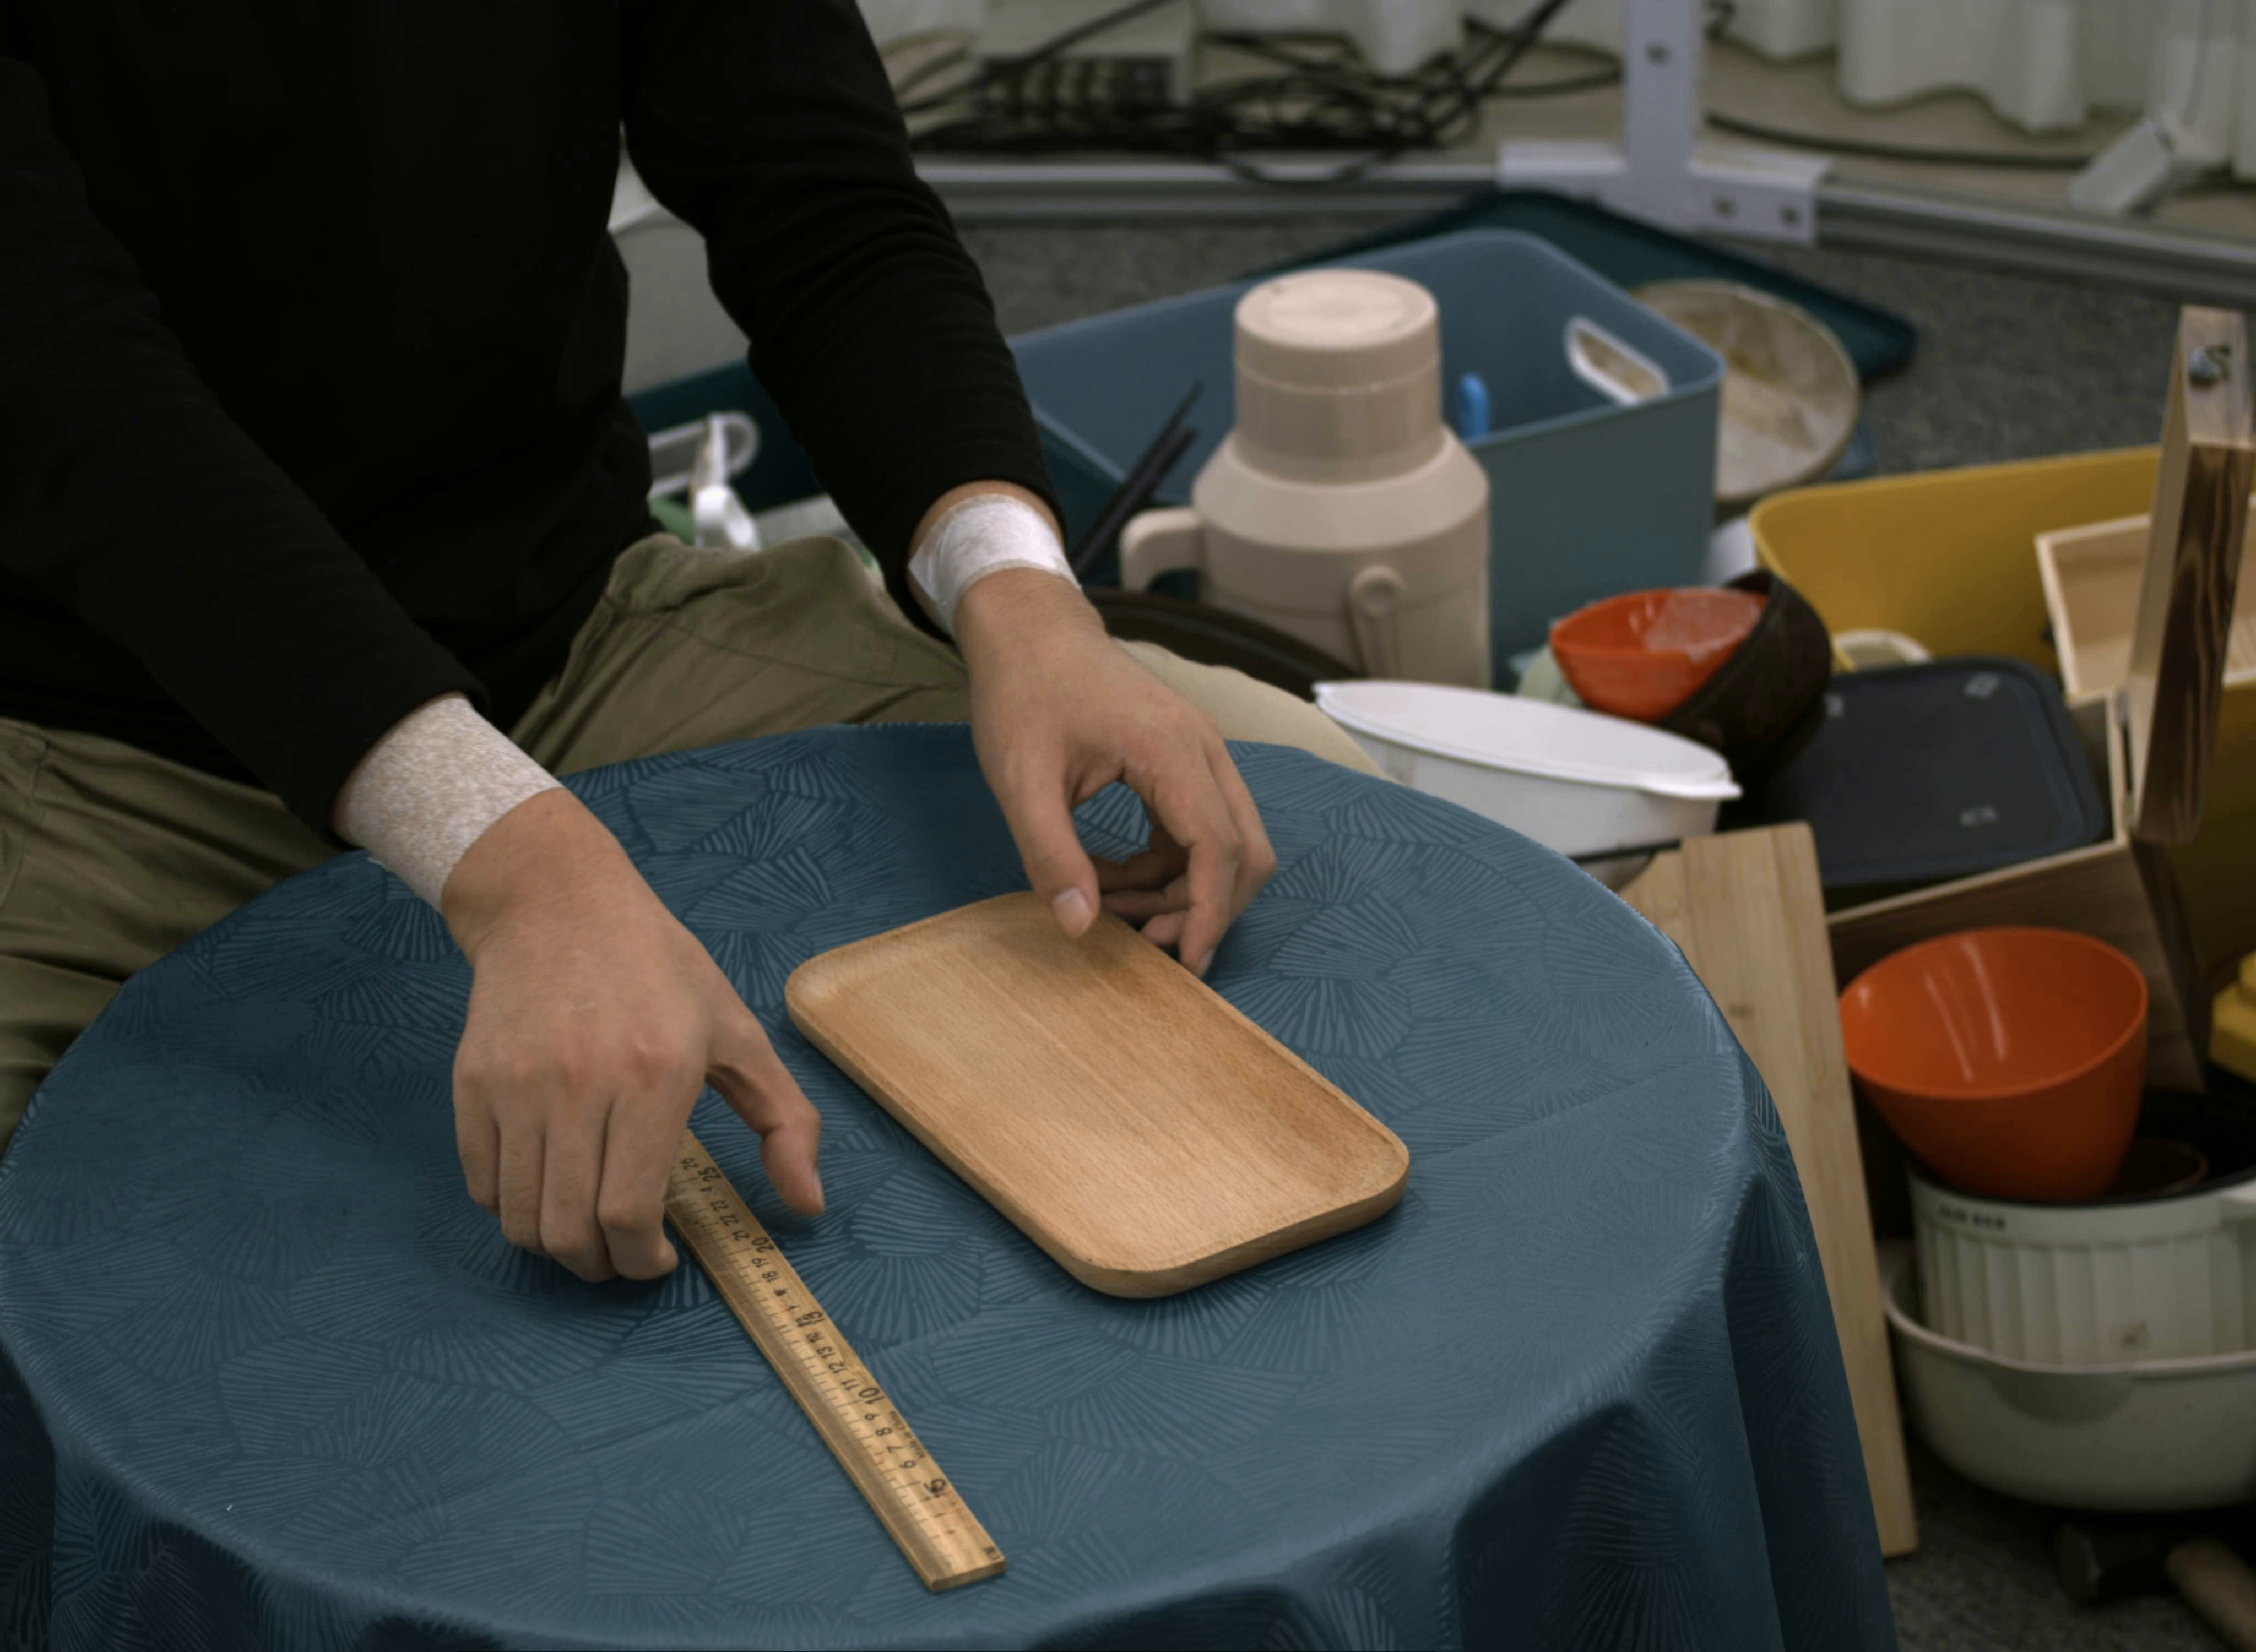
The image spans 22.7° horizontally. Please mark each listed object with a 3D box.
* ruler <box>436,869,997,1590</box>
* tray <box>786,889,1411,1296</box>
[{"bbox_3d":[-0.146,0.121,1.871,0.027,0.006,0.504,-11,28,-20],"label":"ruler"},{"bbox_3d":[-0.013,0.088,1.910,0.131,0.022,0.252,-15,28,-25],"label":"tray"}]
